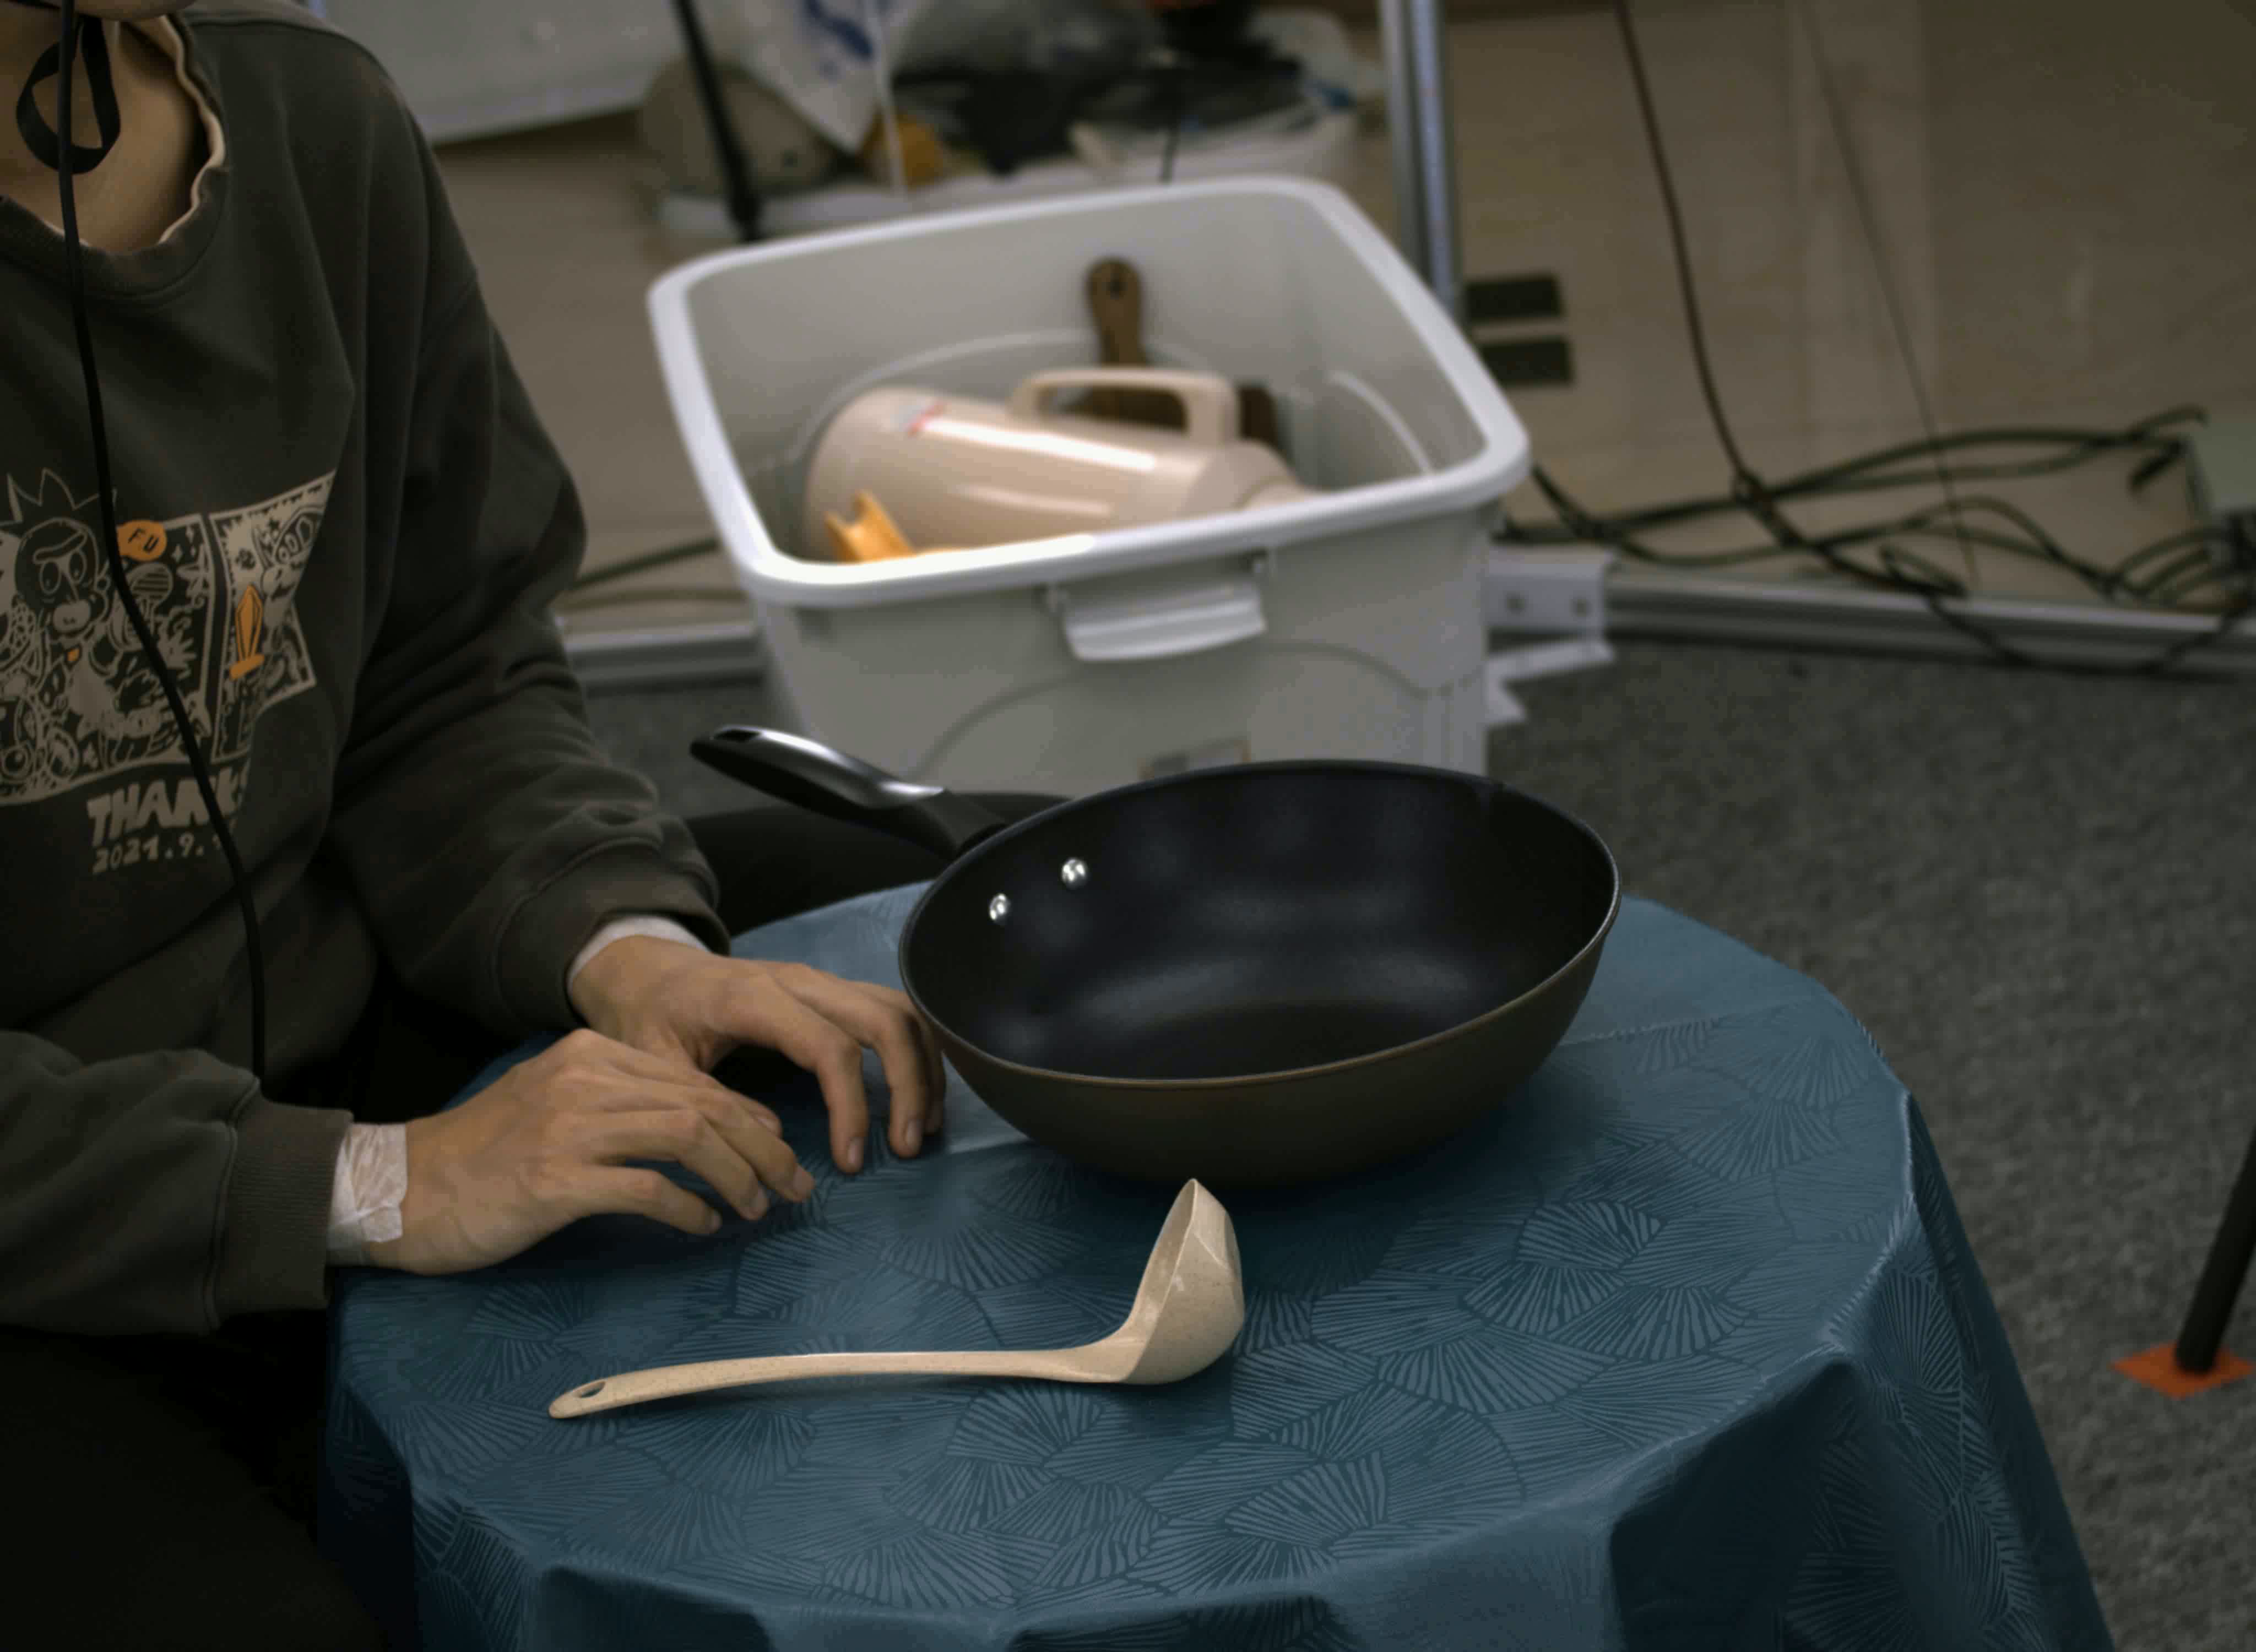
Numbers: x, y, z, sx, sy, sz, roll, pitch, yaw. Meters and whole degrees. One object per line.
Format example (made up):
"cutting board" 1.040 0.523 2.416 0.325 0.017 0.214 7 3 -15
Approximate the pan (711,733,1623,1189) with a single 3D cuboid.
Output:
"pan" -0.010 0.048 2.246 0.285 0.088 0.460 -28 31 -37

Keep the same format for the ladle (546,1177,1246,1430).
"ladle" -0.086 0.170 2.014 0.254 0.074 0.071 -5 31 2
